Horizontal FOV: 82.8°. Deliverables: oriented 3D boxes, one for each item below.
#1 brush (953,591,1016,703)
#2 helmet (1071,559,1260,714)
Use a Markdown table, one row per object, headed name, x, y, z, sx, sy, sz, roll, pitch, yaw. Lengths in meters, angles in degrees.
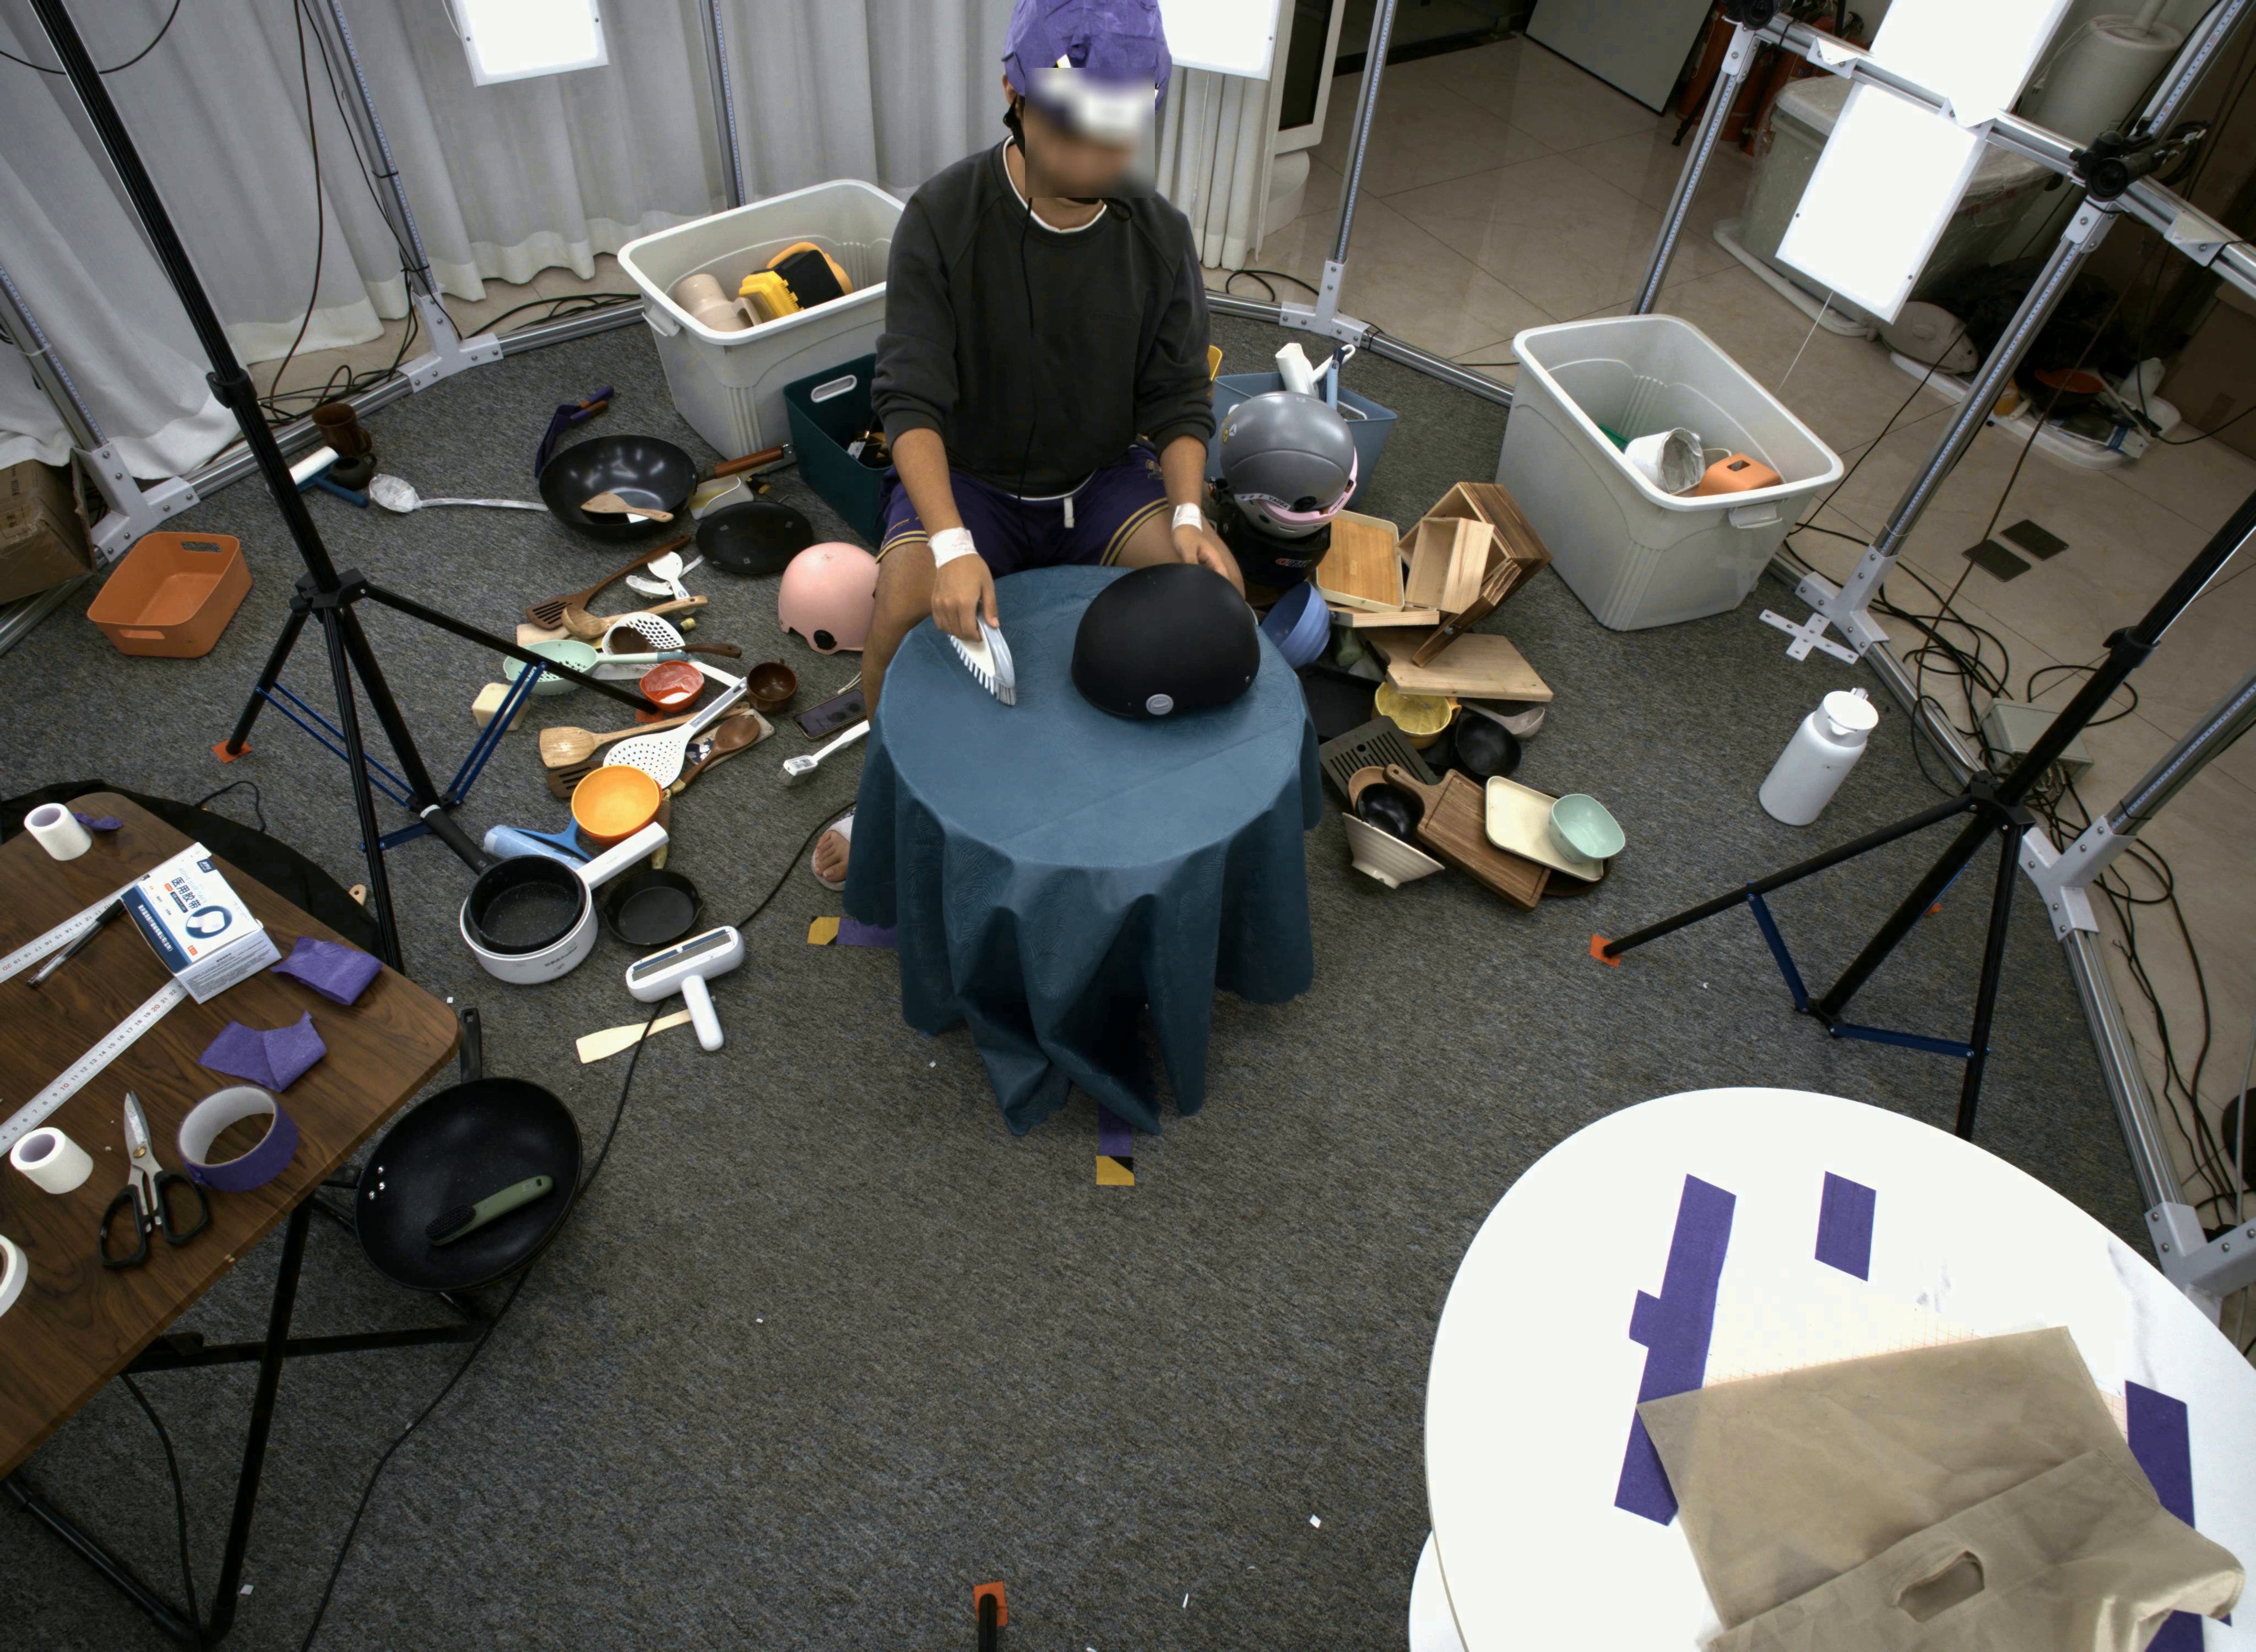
| name | x | y | z | sx | sy | sz | roll | pitch | yaw |
| --- | --- | --- | --- | --- | --- | --- | --- | --- | --- |
| brush | -0.196 | -0.261 | 1.820 | 0.061 | 0.092 | 0.179 | -17 | 56 | -19 |
| helmet | 0.055 | -0.282 | 1.812 | 0.273 | 0.163 | 0.236 | -9 | 50 | -9 |
